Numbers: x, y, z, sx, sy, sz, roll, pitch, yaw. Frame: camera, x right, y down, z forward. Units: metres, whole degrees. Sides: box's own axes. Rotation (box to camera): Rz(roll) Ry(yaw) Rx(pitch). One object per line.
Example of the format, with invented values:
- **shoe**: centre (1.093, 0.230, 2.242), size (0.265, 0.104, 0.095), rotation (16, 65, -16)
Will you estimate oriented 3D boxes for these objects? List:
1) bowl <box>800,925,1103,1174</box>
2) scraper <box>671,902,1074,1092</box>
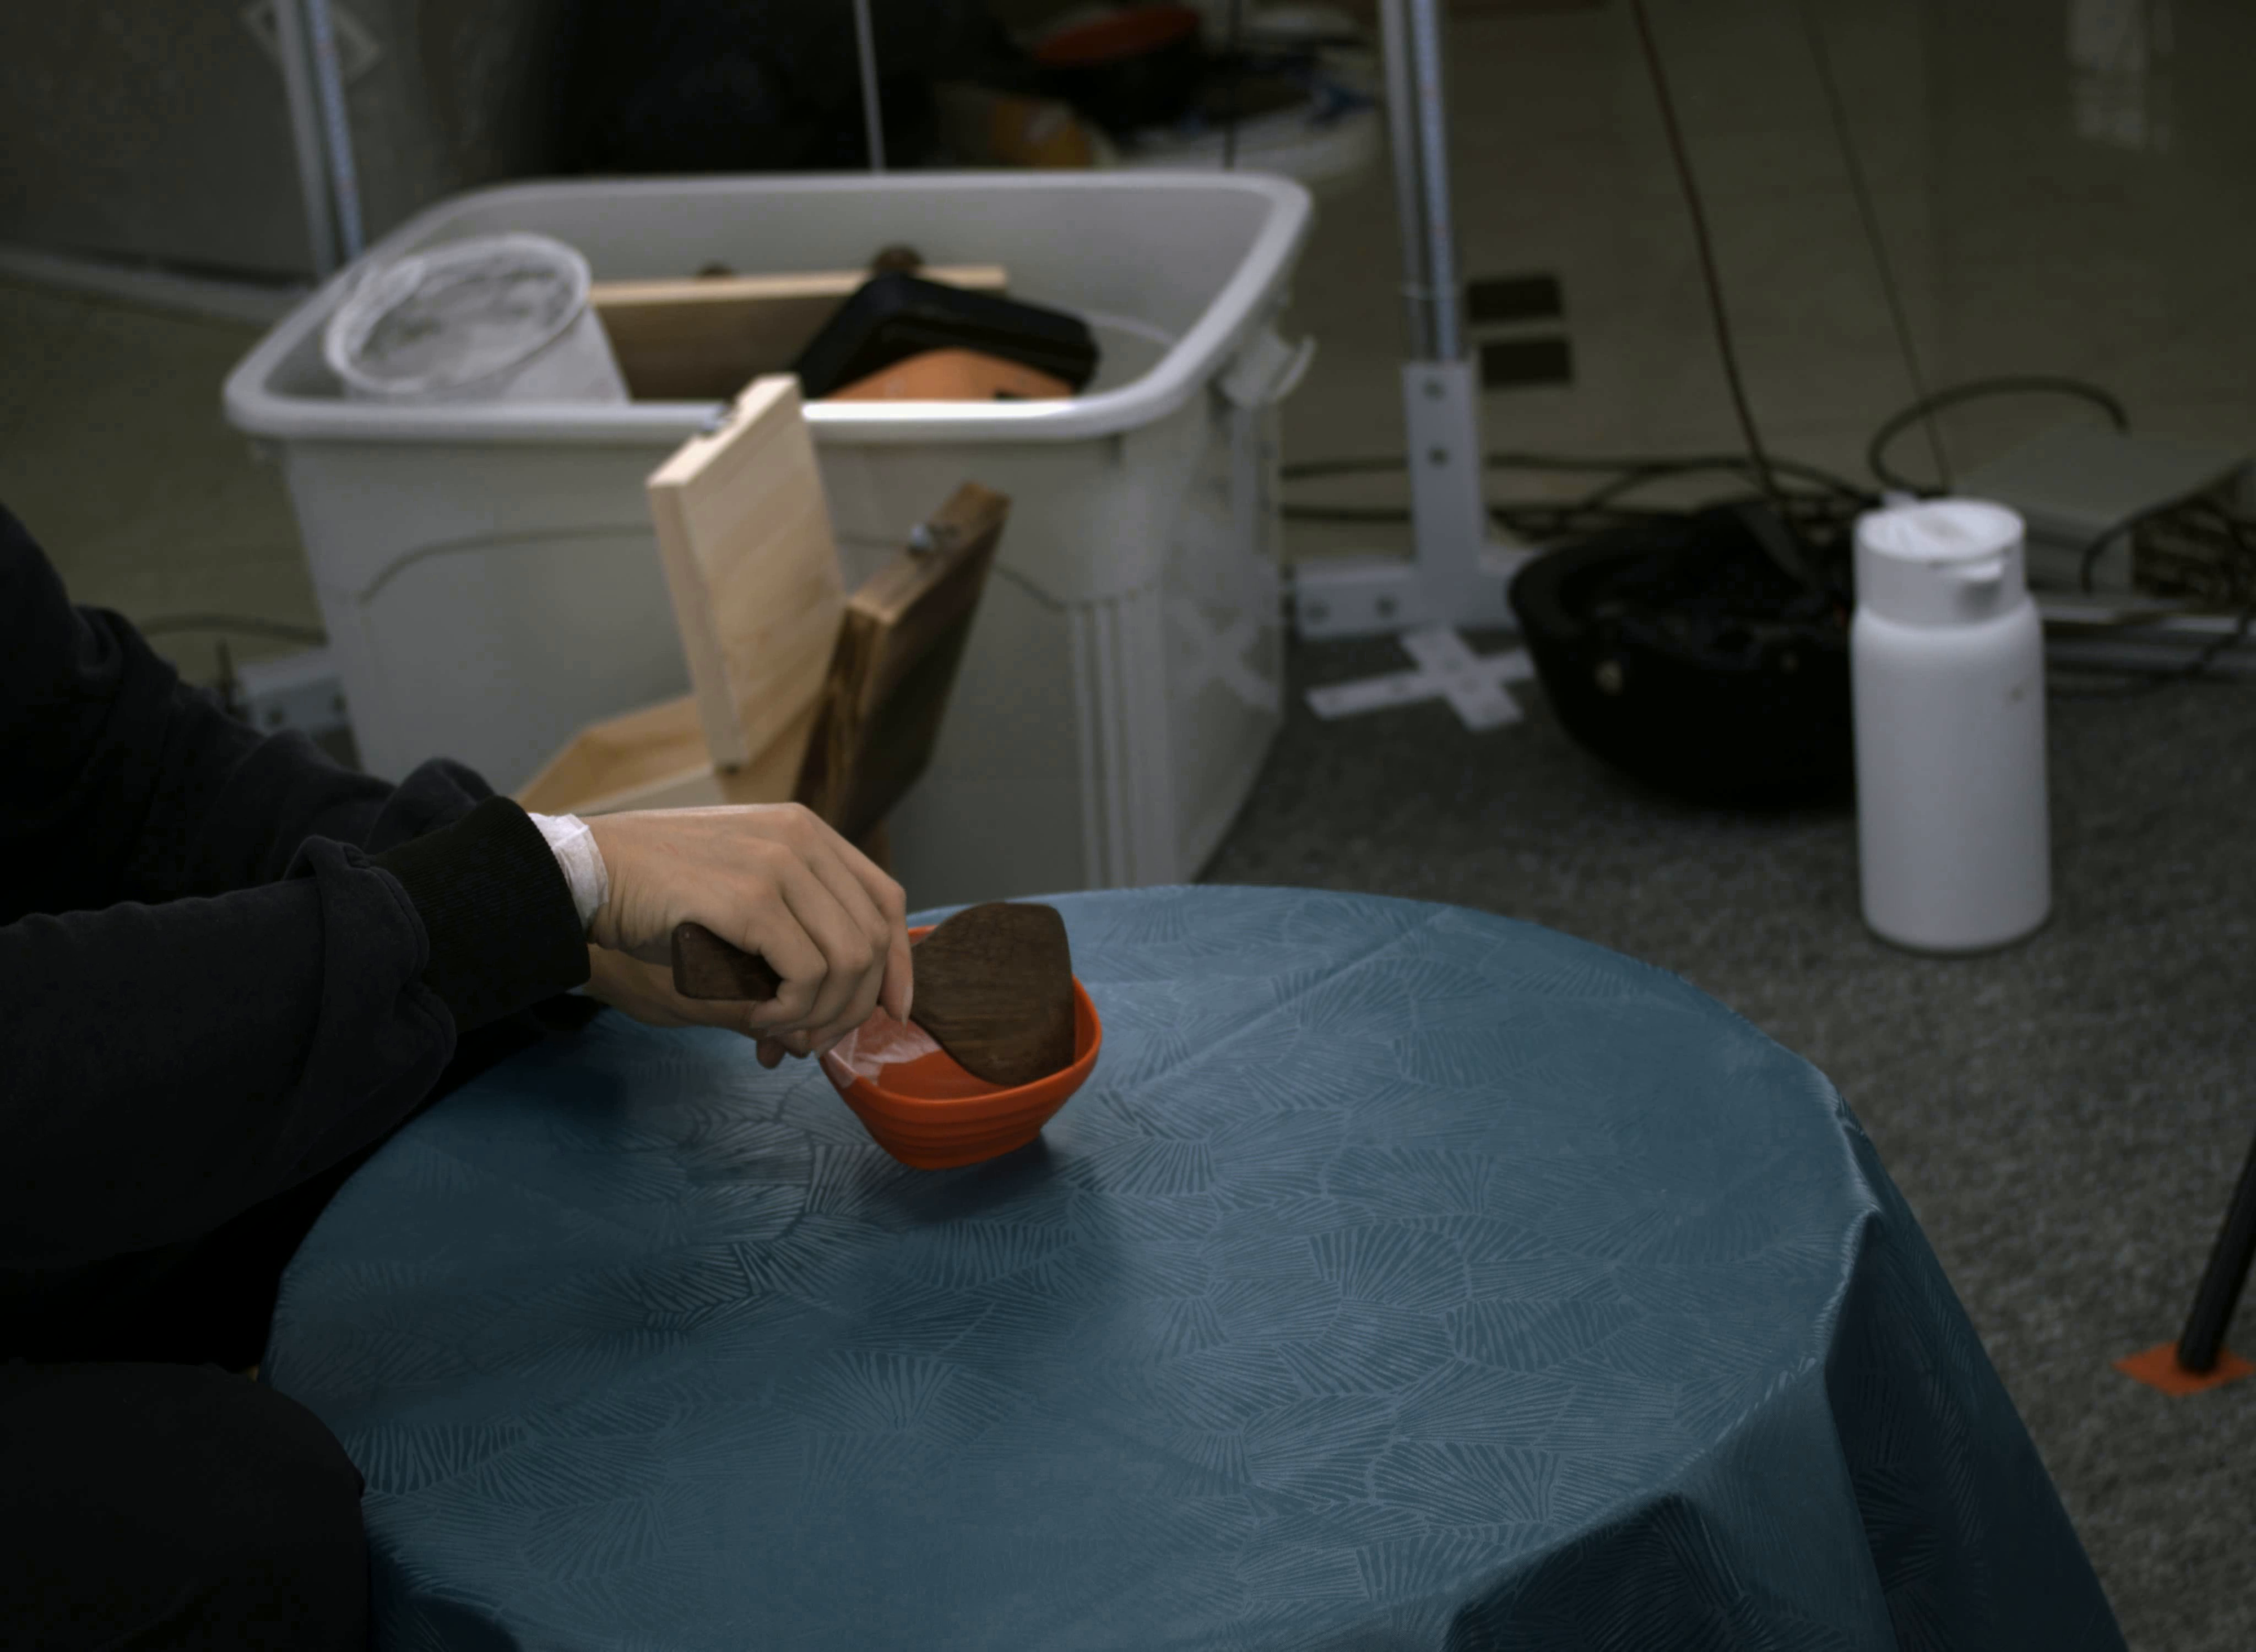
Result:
- **bowl**: centre (-0.070, 0.093, 2.194), size (0.119, 0.052, 0.117), rotation (4, 37, -3)
- **scraper**: centre (-0.094, 0.059, 2.121), size (0.011, 0.075, 0.212), rotation (-9, -11, 41)
